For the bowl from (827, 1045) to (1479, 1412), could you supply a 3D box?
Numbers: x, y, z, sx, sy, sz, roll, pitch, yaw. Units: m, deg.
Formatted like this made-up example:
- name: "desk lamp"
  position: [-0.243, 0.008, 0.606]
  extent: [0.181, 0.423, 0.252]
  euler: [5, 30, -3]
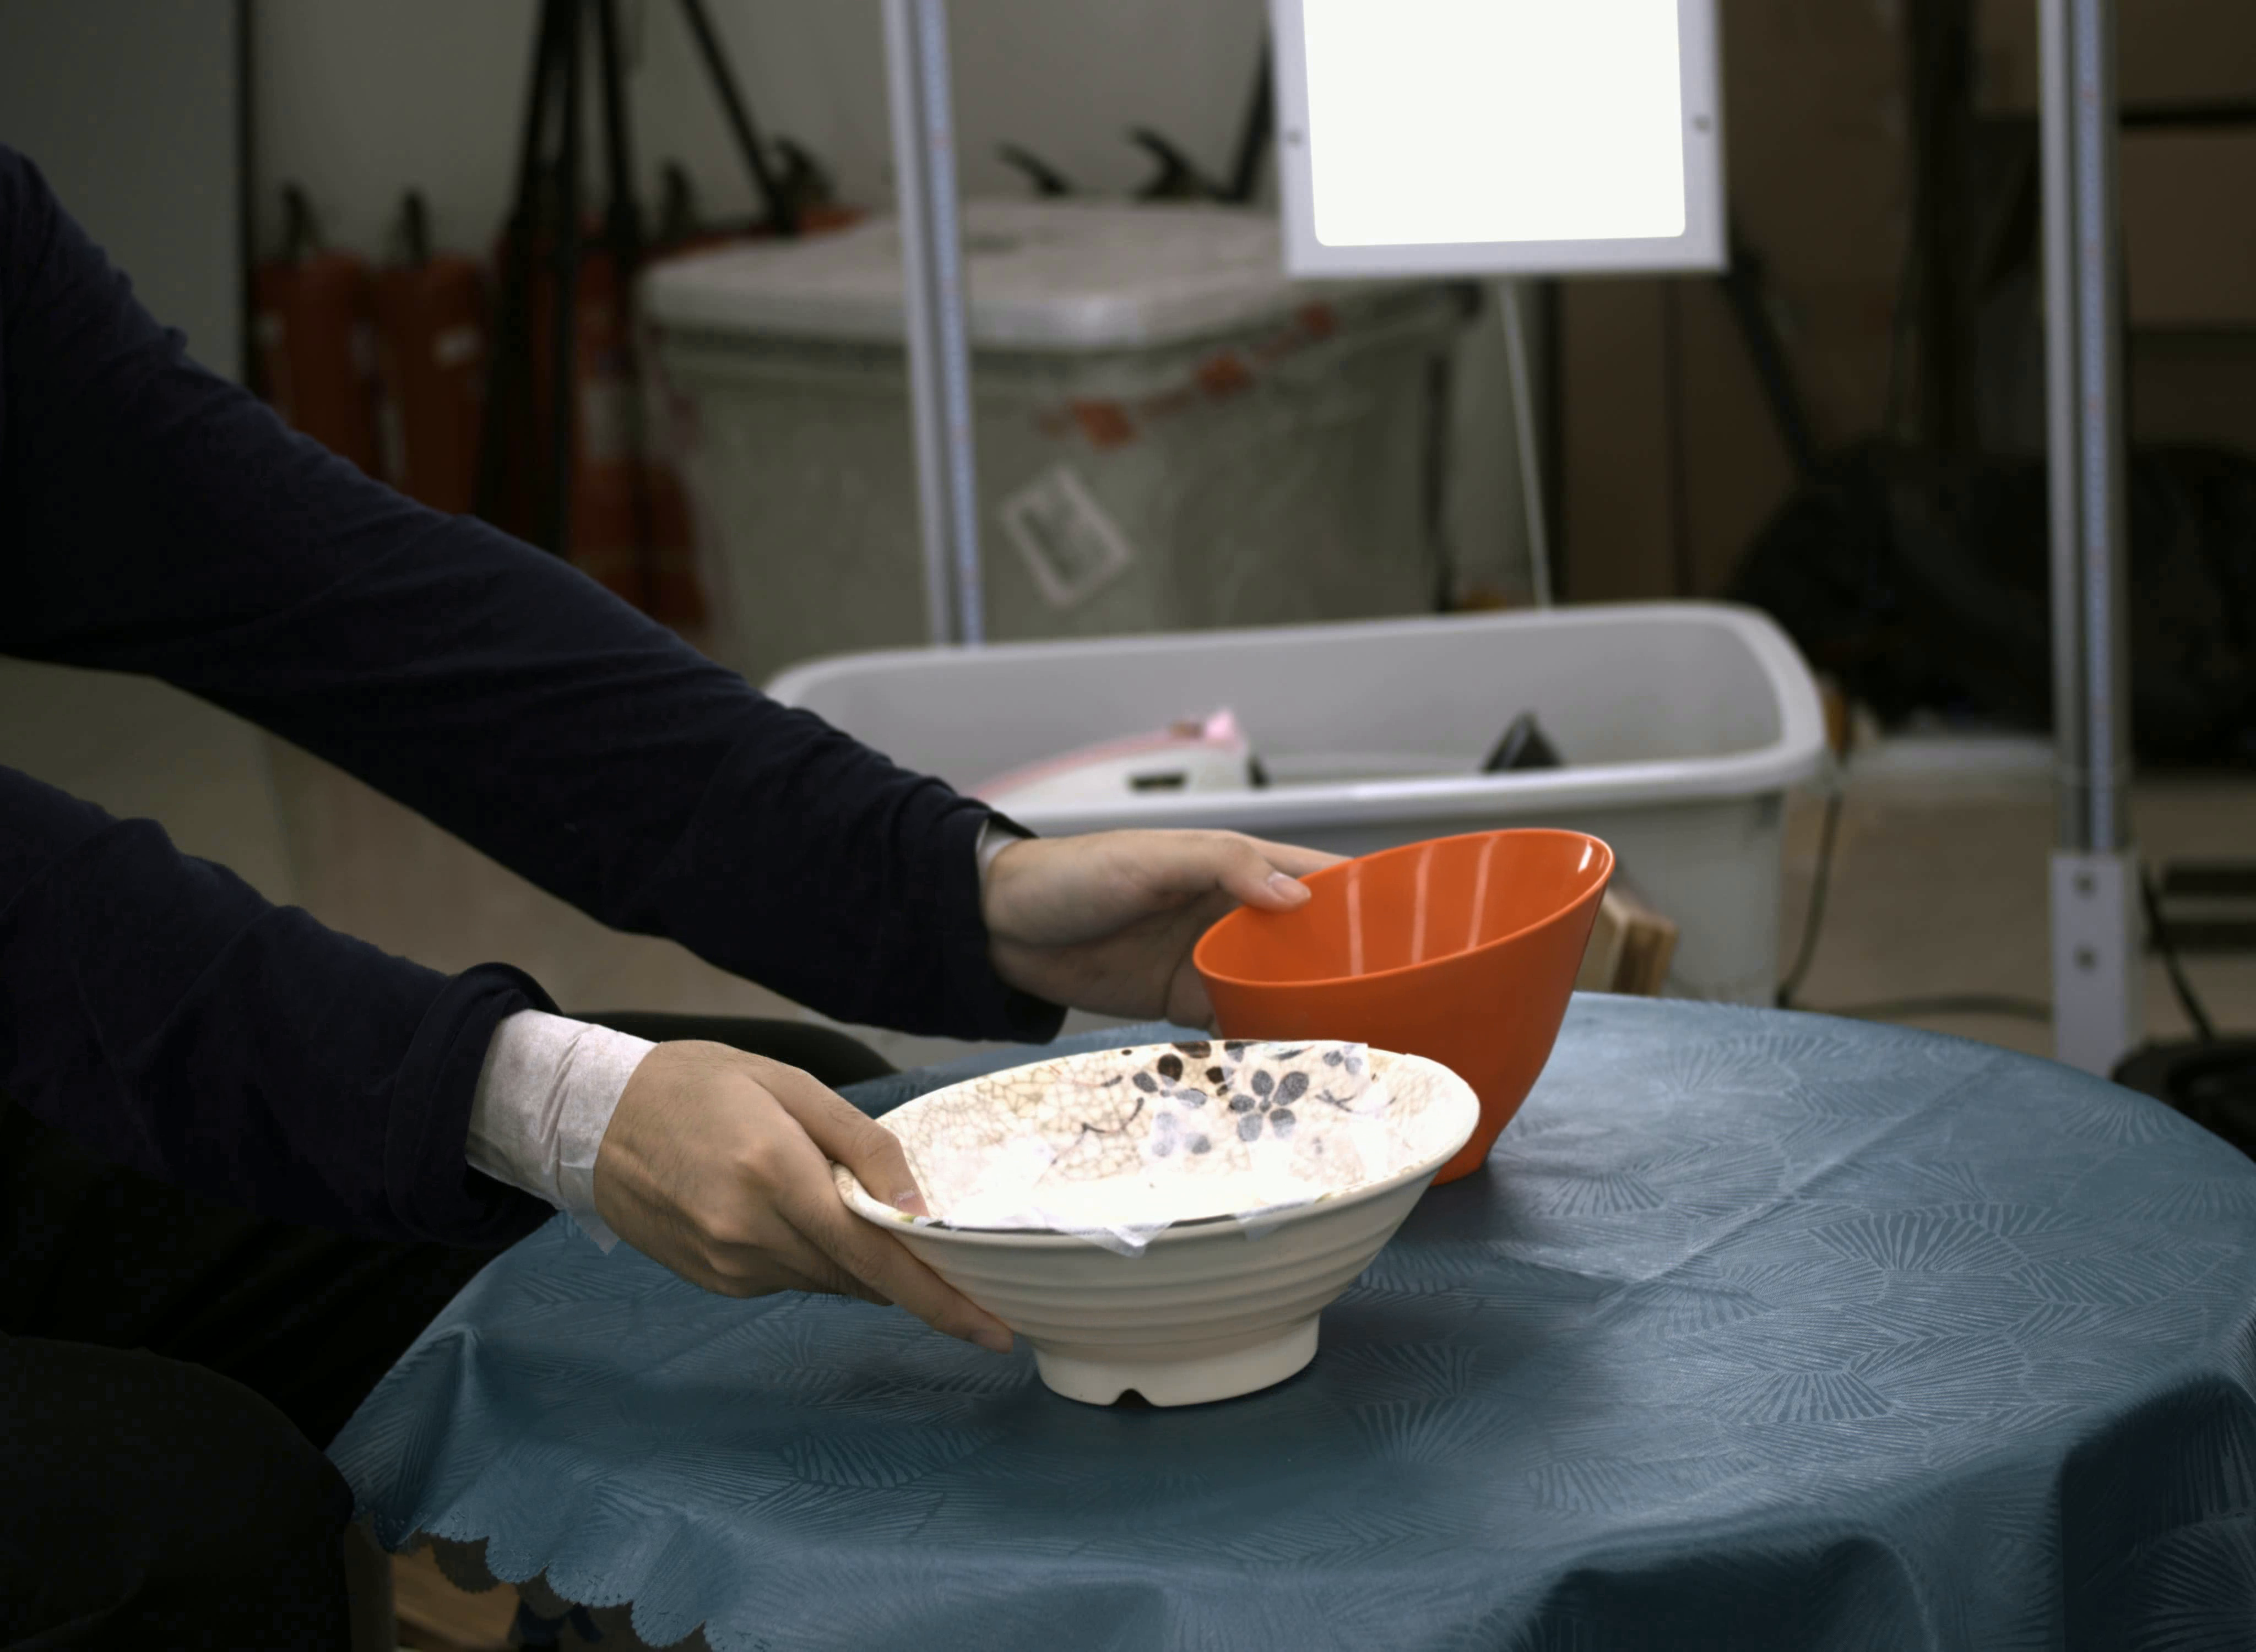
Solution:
- name: "bowl"
  position: [0.011, 0.132, 1.712]
  extent: [0.203, 0.078, 0.204]
  euler: [-7, 13, 0]

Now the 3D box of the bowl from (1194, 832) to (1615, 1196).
- name: "bowl"
  position: [0.099, 0.068, 1.897]
  extent: [0.148, 0.105, 0.148]
  euler: [-7, 14, 0]
